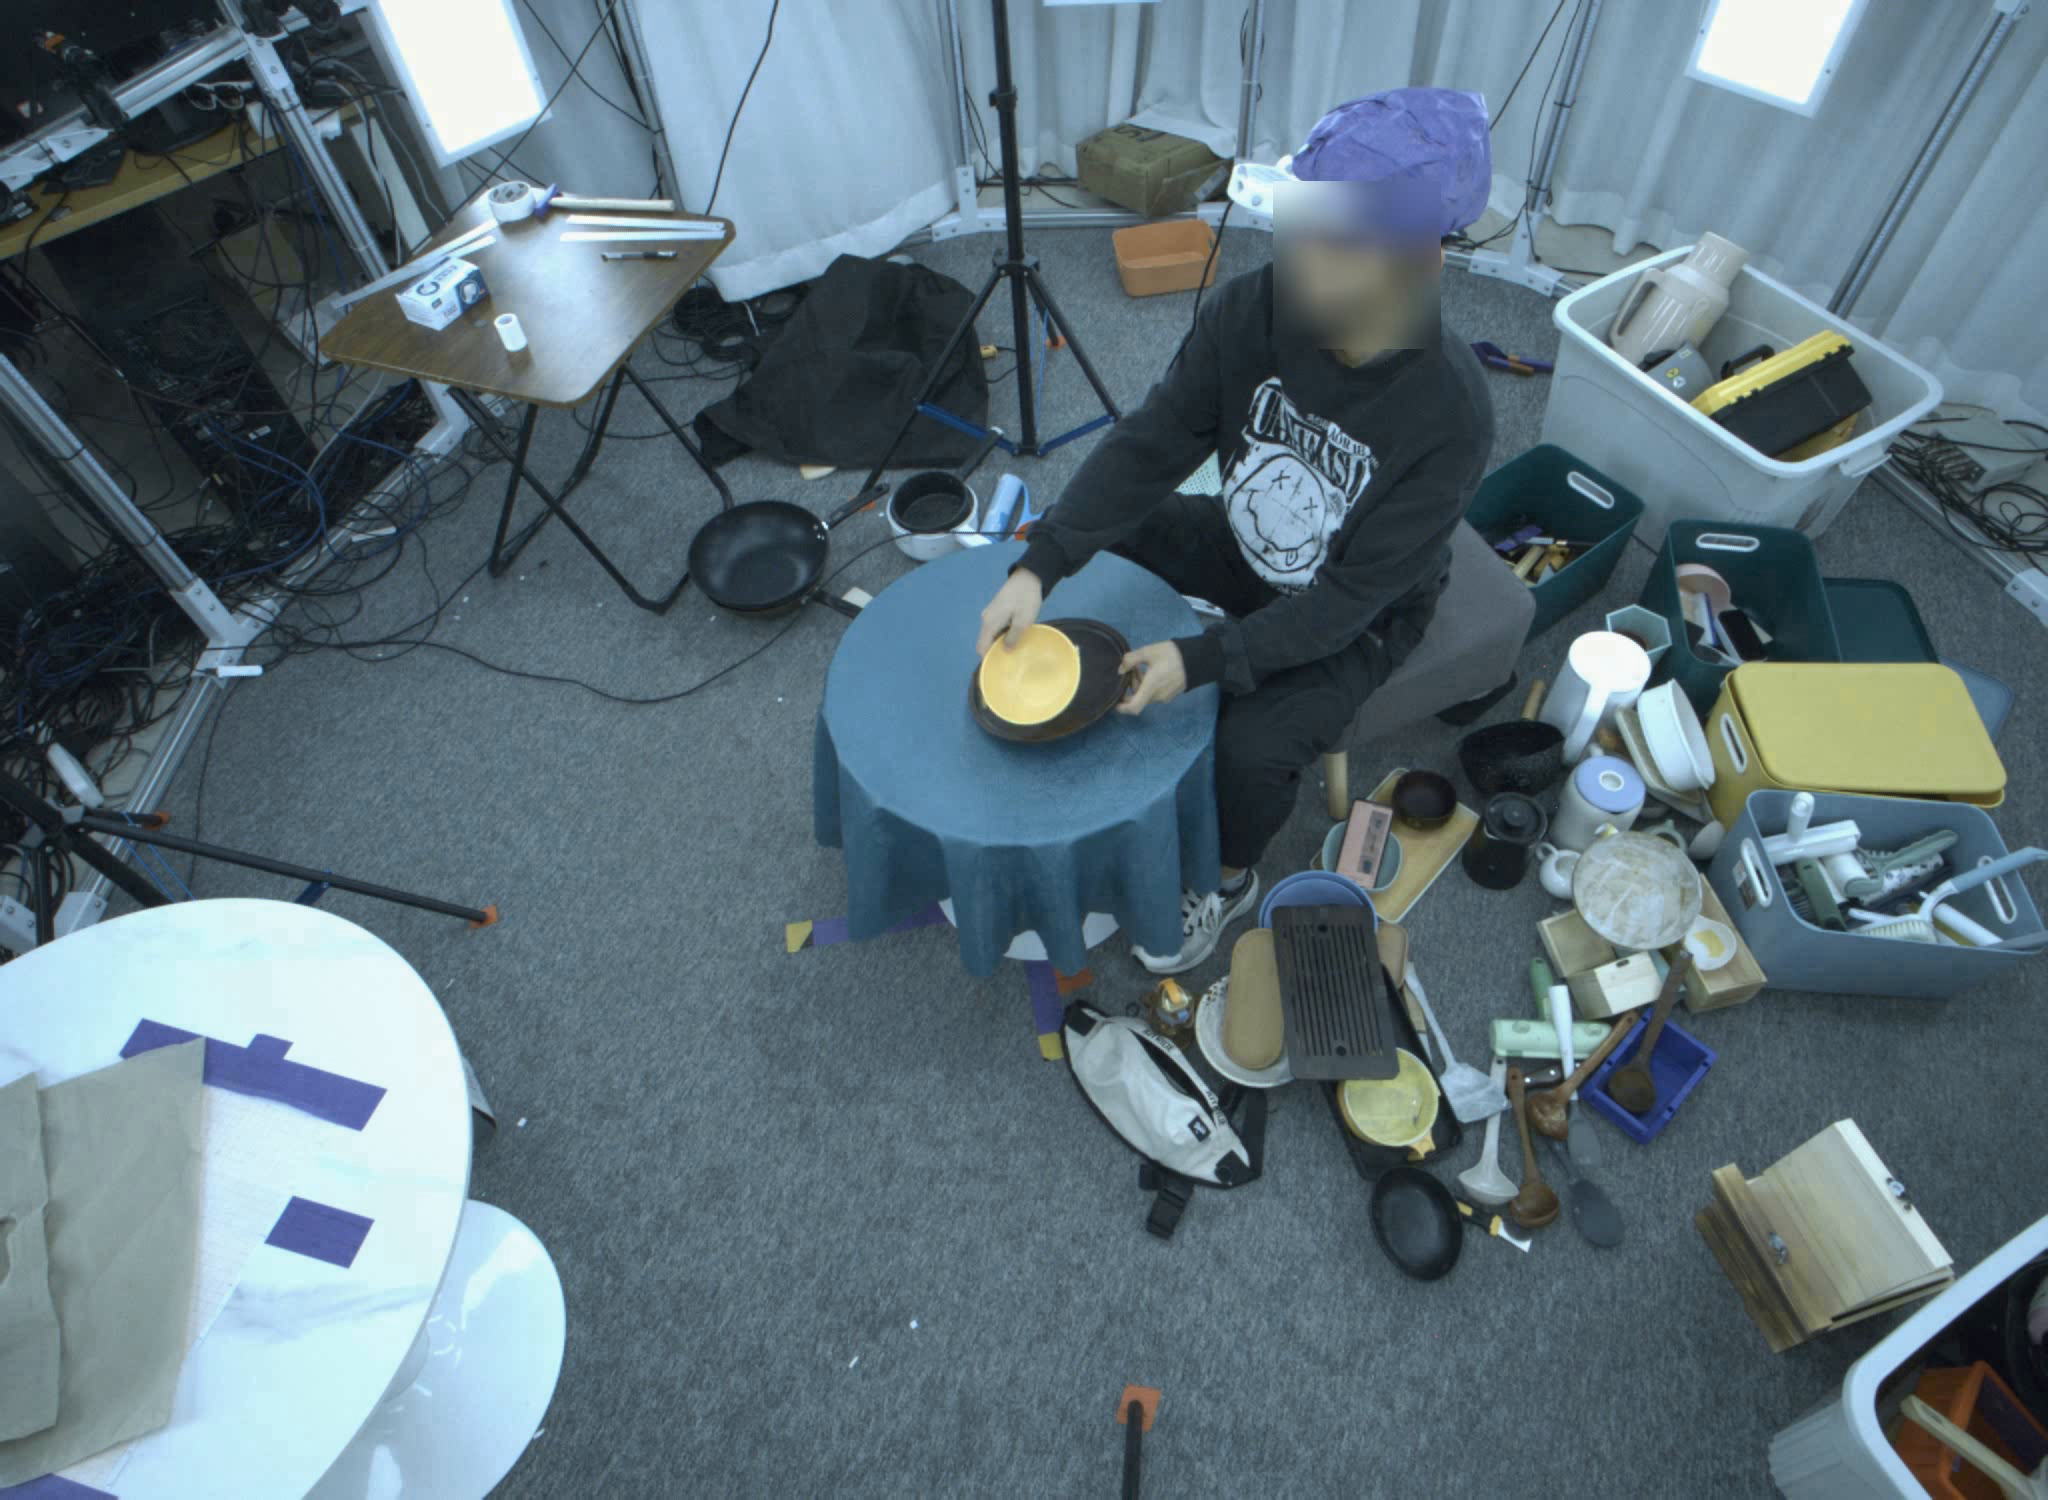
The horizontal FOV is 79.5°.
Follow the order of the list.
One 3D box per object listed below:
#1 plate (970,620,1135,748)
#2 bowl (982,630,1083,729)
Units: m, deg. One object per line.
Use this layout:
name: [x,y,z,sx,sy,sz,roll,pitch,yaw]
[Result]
plate: [0.042,-0.098,1.816,0.253,0.029,0.252,-11,45,12]
bowl: [0.018,-0.092,1.735,0.144,0.061,0.144,-3,77,13]
